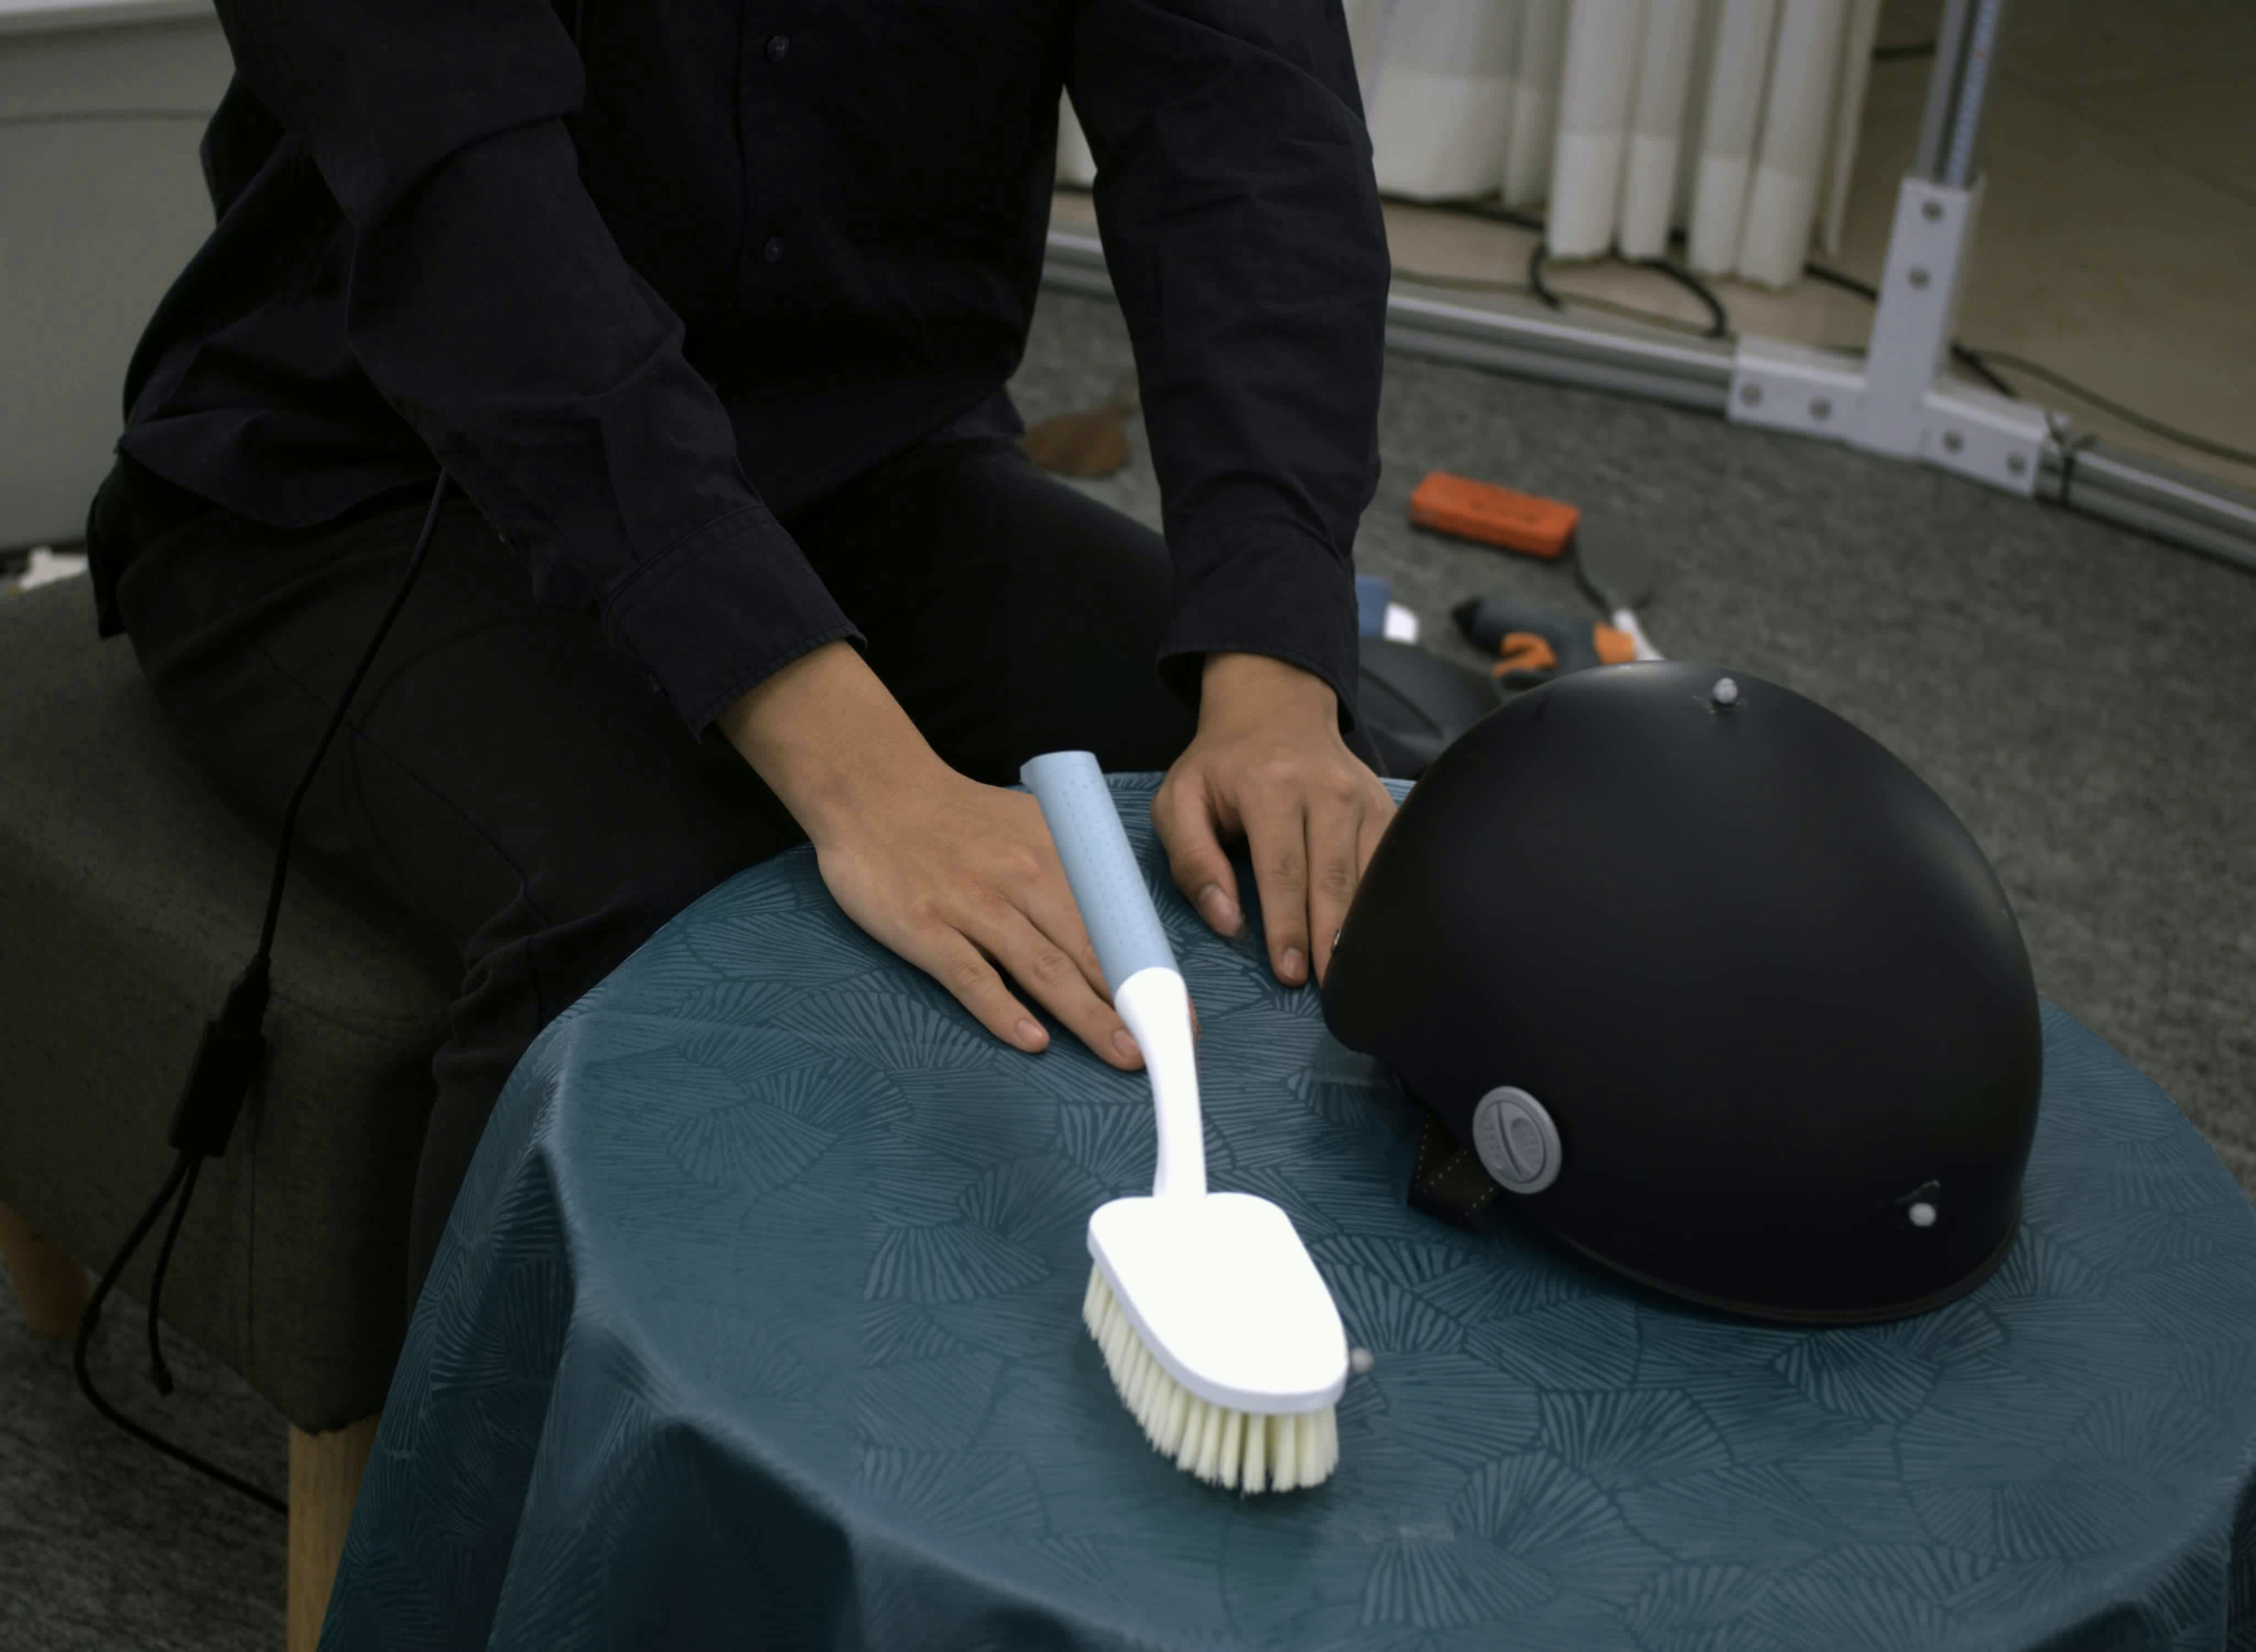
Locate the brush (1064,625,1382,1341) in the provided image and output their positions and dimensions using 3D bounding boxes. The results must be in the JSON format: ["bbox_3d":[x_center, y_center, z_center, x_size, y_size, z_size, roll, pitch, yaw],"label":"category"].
[{"bbox_3d":[0.024,0.060,1.785,0.082,0.084,0.328,33,24,-37],"label":"brush"}]

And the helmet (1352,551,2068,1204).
[{"bbox_3d":[0.213,0.000,1.863,0.228,0.166,0.275,-11,34,-30],"label":"helmet"}]
